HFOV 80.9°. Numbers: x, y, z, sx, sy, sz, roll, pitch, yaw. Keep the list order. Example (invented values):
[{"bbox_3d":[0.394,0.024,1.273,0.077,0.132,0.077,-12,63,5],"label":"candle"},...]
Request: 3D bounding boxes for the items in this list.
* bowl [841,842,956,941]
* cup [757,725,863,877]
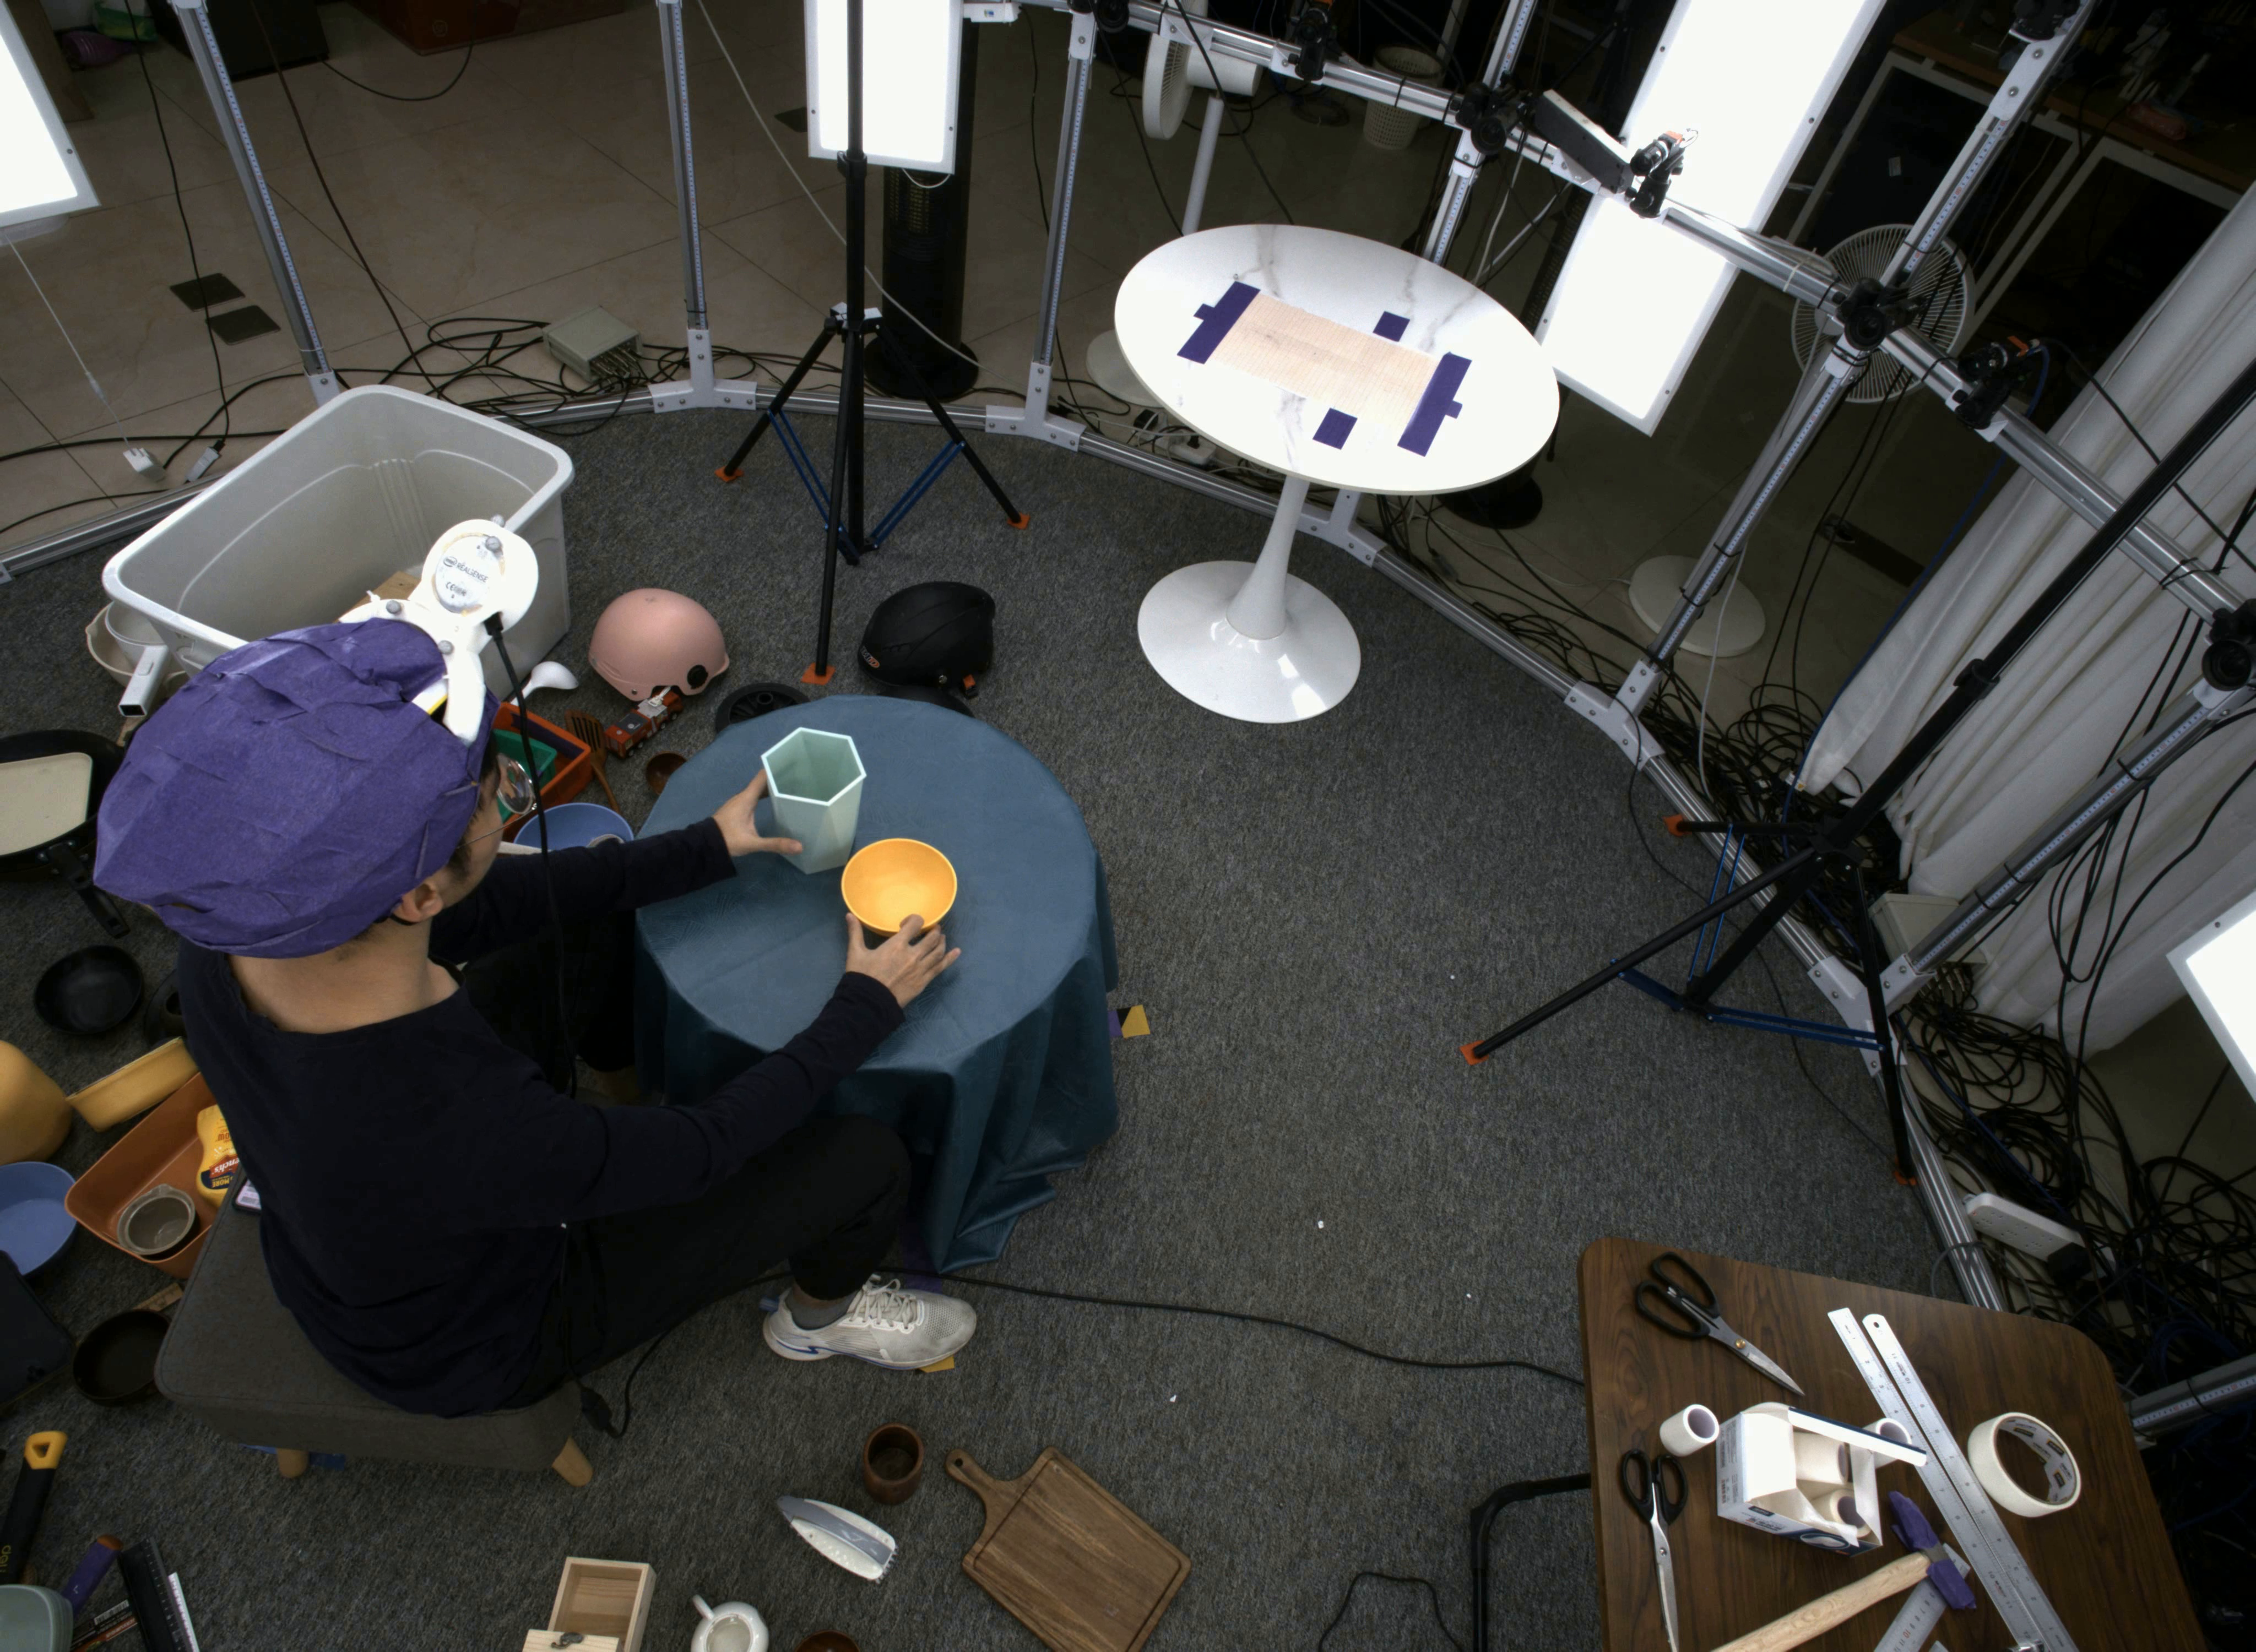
[{"bbox_3d":[-0.291,0.093,1.655,0.144,0.061,0.142,6,51,-6],"label":"bowl"},{"bbox_3d":[-0.398,-0.028,1.648,0.115,0.167,0.127,-19,57,-22],"label":"cup"}]
